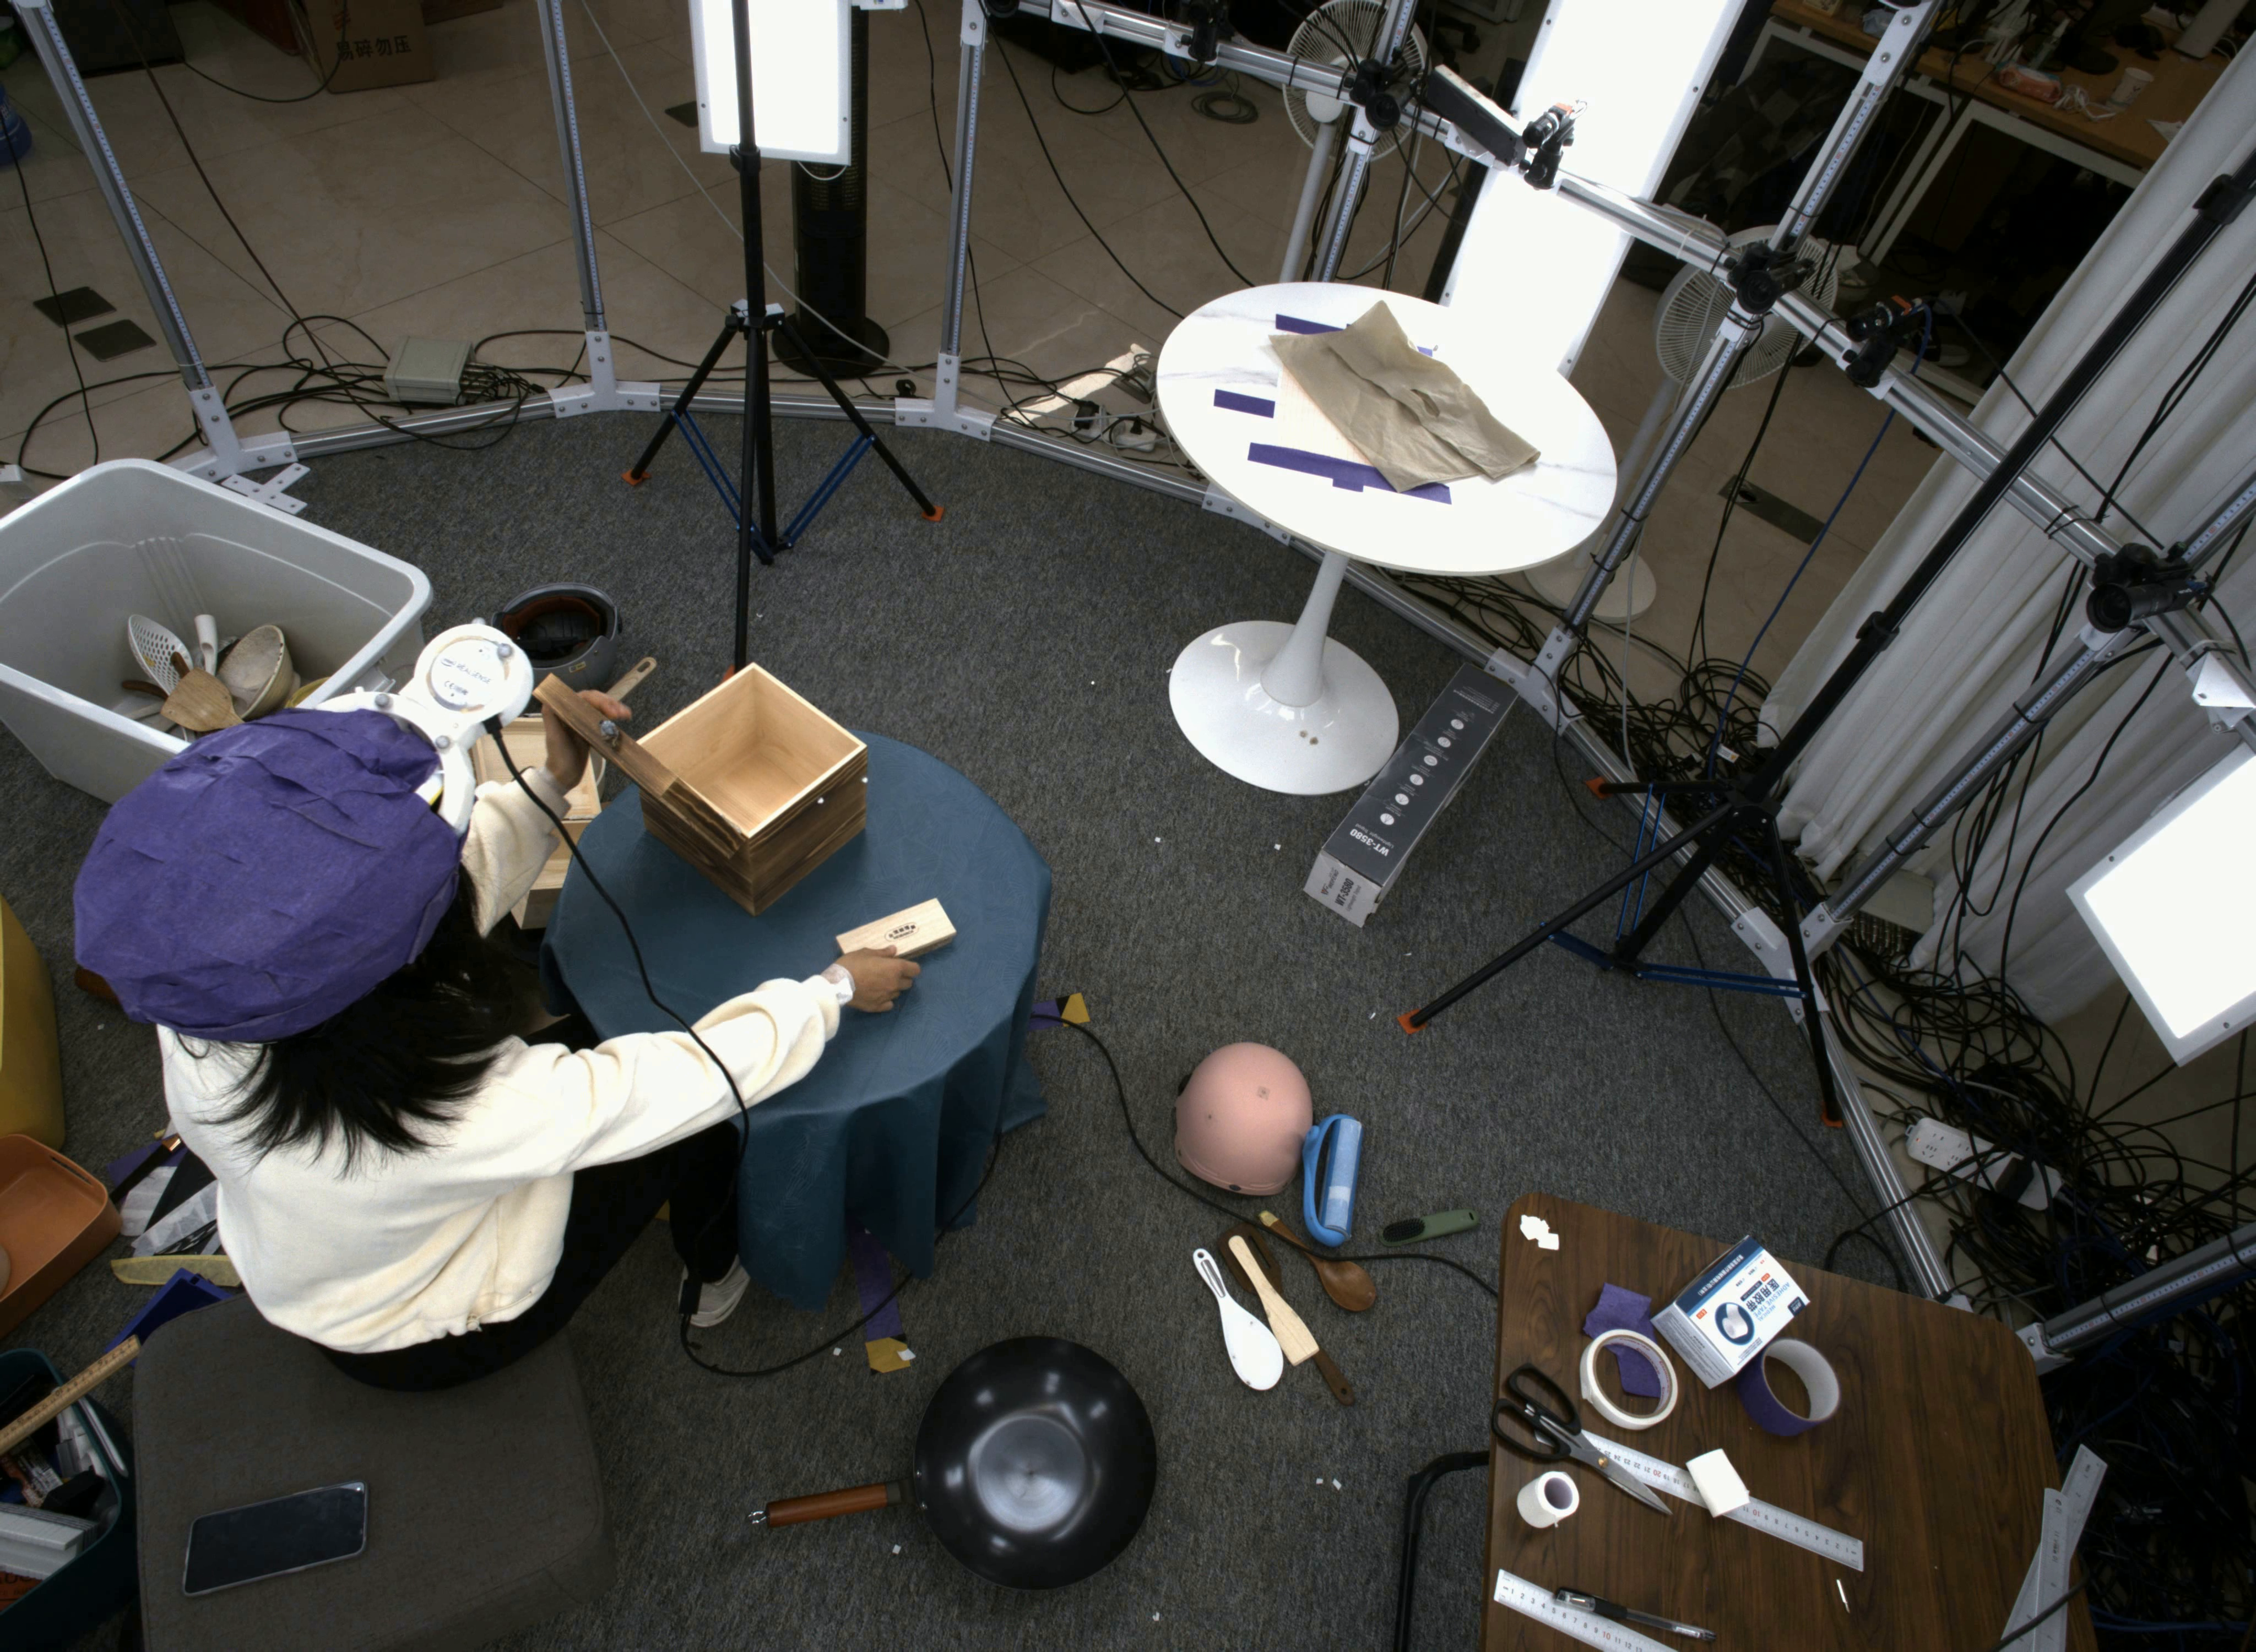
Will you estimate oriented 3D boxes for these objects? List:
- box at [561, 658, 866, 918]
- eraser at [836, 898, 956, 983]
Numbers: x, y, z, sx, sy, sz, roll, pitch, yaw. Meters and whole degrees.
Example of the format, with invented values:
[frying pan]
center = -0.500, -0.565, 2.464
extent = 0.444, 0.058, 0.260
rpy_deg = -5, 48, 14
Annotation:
[box]
center = -0.487, -0.080, 1.527
extent = 0.205, 0.383, 0.322
rpy_deg = 34, 53, 14
[eraser]
center = -0.290, 0.141, 1.631
extent = 0.140, 0.029, 0.056
rpy_deg = -23, 65, -27
